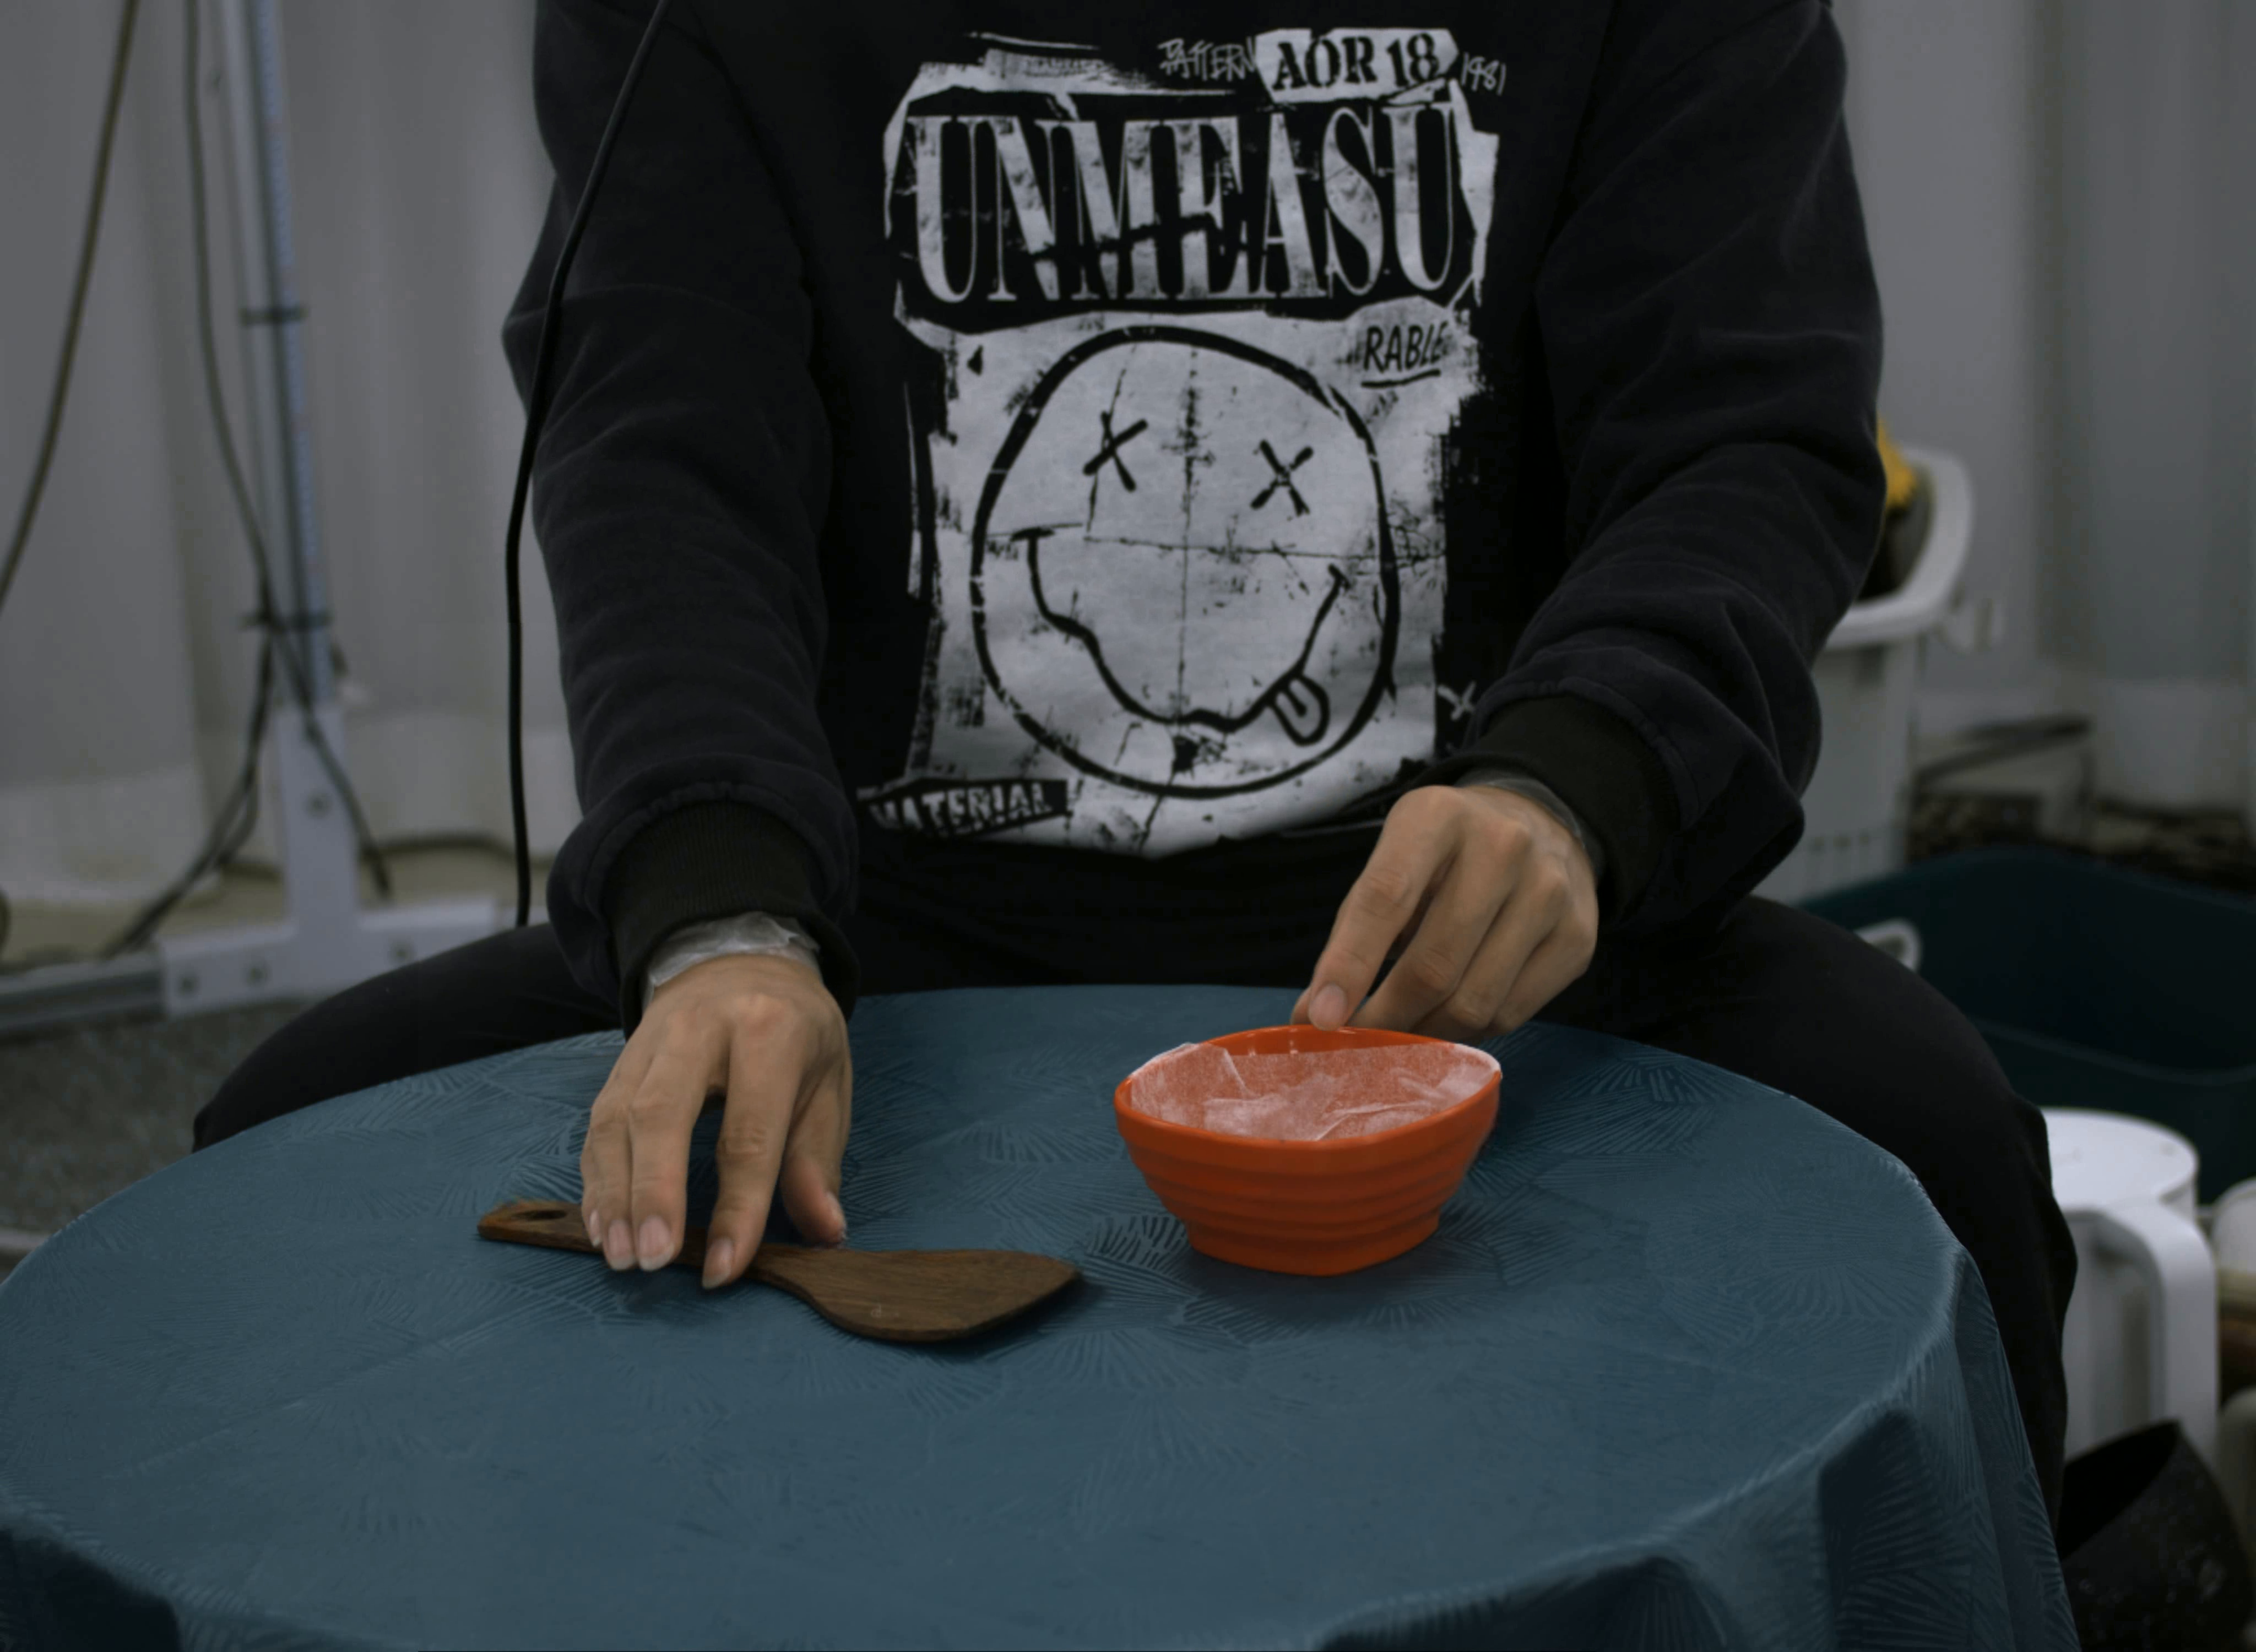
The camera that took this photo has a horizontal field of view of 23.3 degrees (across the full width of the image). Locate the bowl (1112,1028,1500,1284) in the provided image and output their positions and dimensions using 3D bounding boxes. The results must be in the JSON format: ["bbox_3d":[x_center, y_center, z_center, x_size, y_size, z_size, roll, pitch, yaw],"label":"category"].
[{"bbox_3d":[0.055,0.102,1.658,0.118,0.051,0.120,-4,15,1],"label":"bowl"}]

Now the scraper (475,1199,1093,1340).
[{"bbox_3d":[-0.111,0.132,1.657,0.212,0.011,0.076,6,16,33],"label":"scraper"}]
